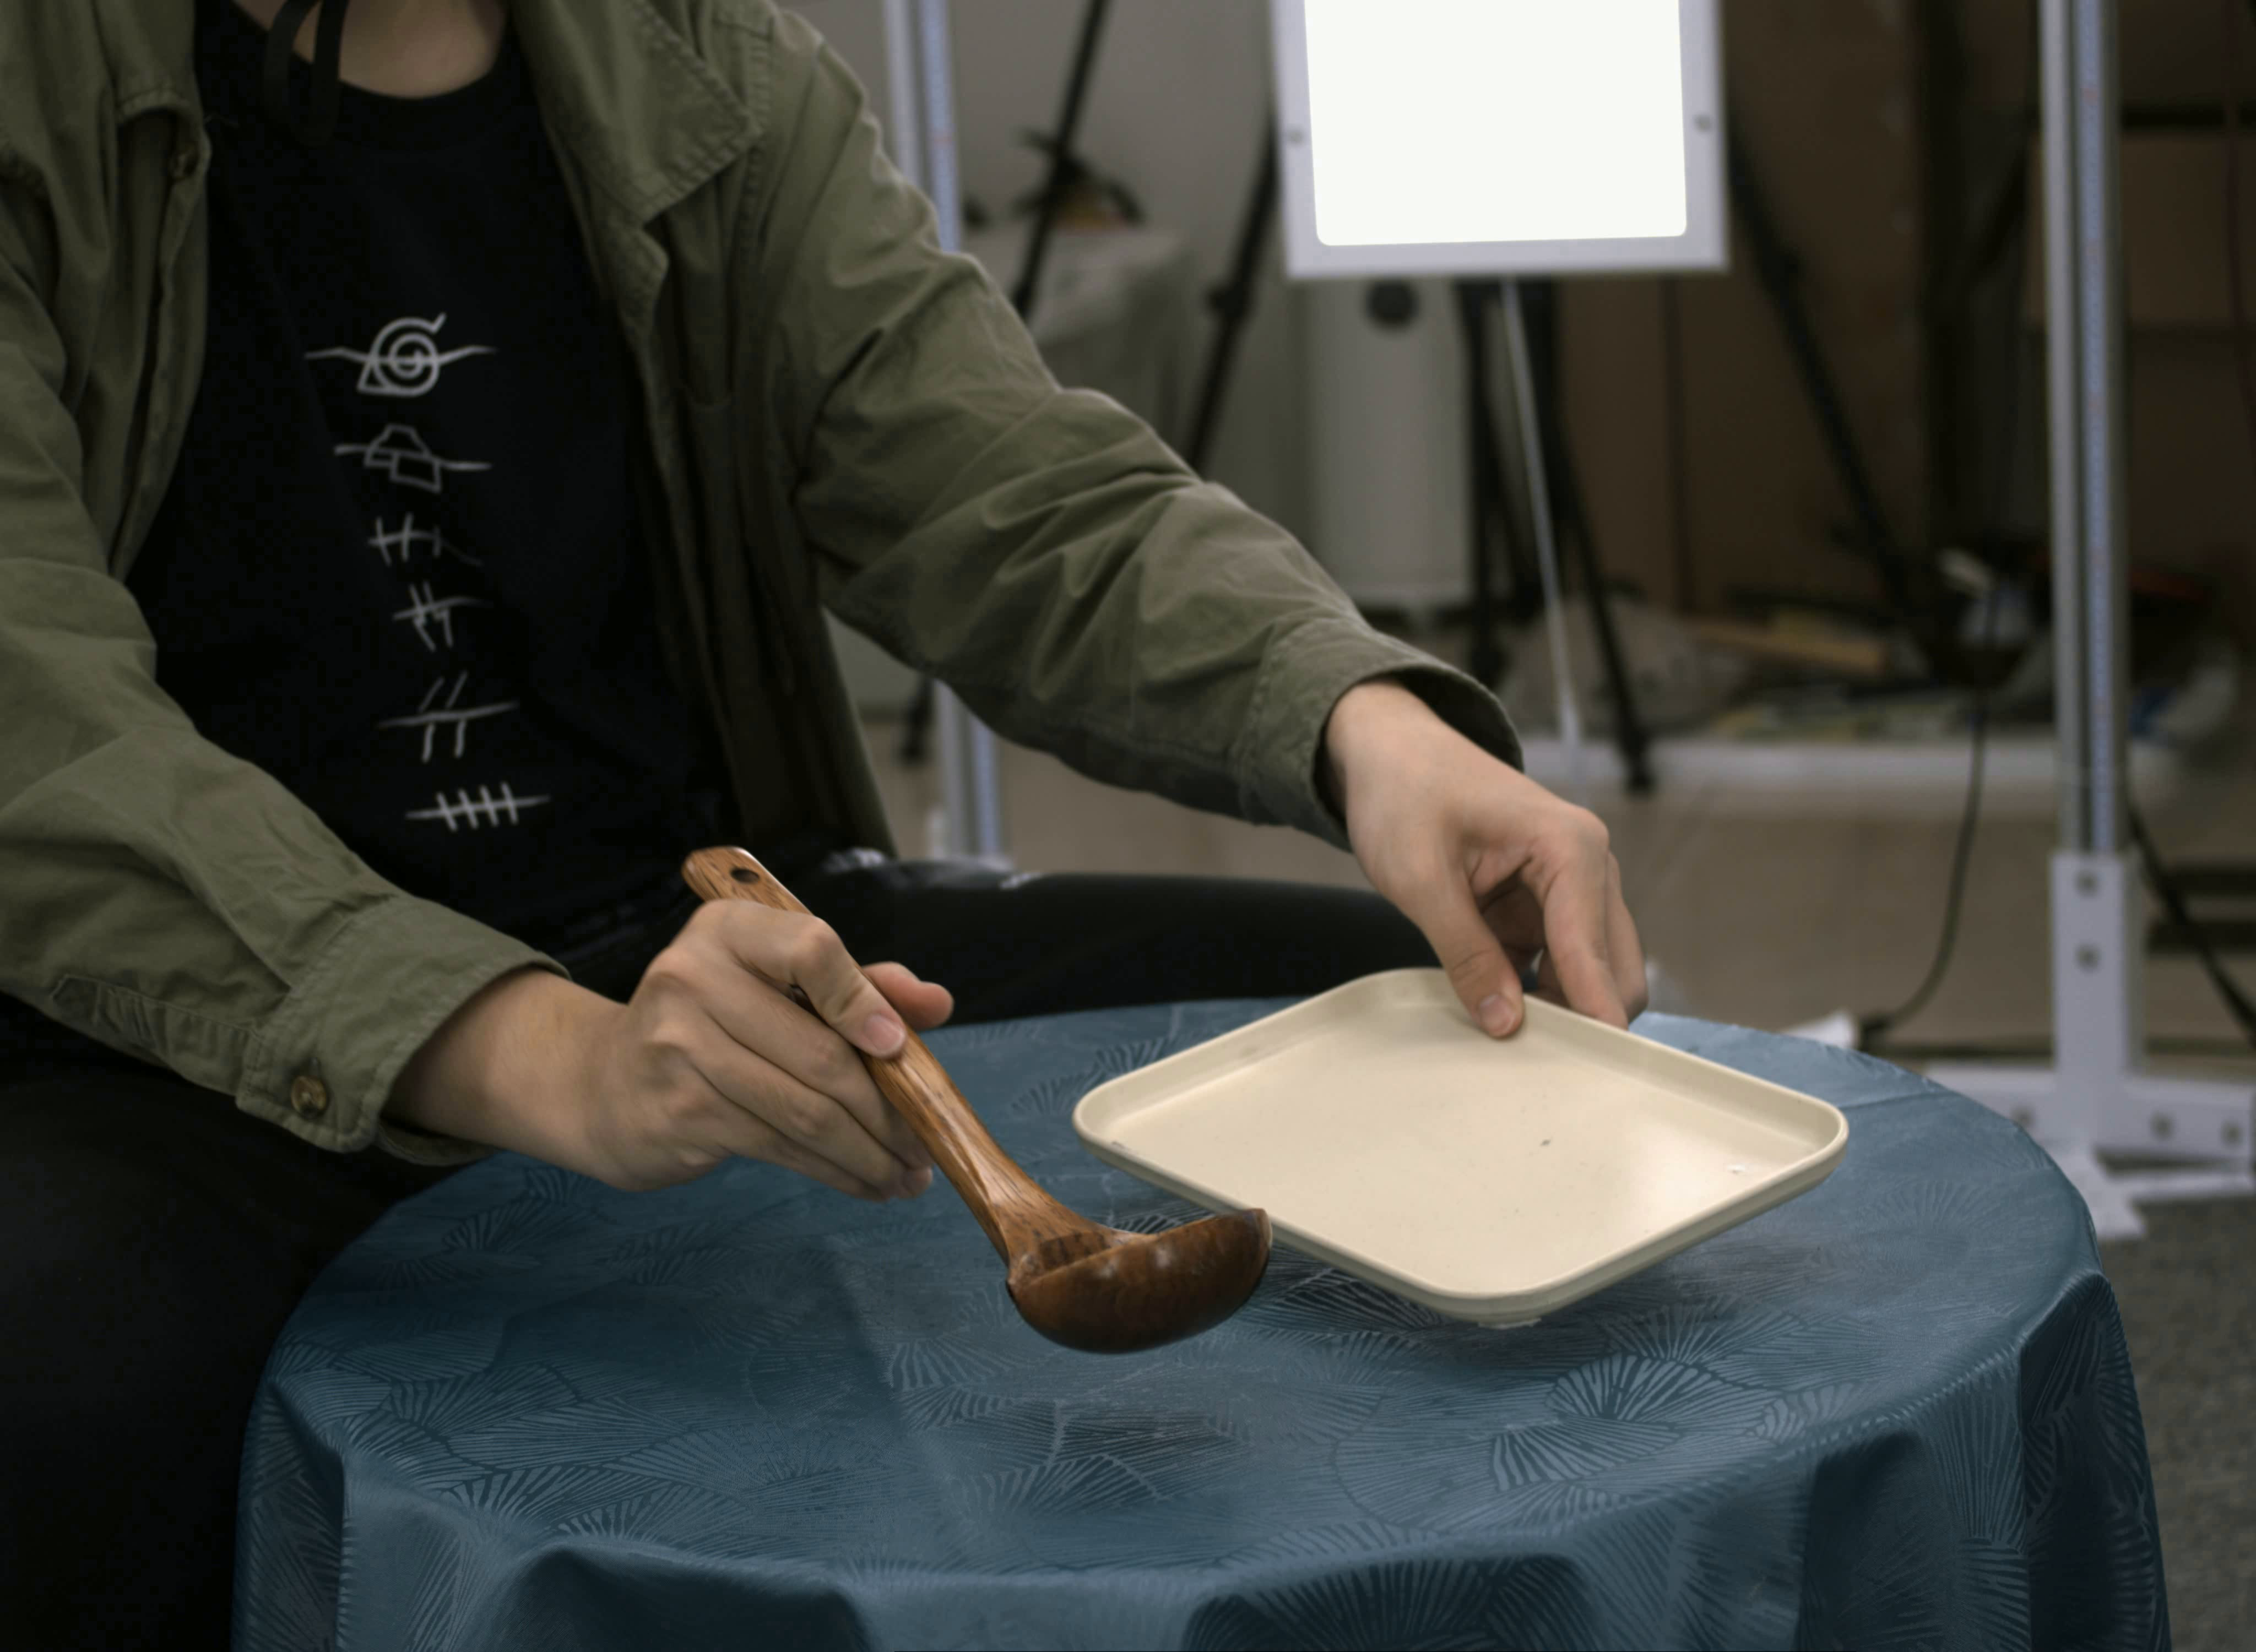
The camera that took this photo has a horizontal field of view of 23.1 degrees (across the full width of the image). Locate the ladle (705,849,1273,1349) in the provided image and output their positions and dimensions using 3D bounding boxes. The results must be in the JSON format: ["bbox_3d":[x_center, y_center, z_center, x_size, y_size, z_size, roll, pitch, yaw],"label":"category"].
[{"bbox_3d":[-0.052,0.068,1.703,0.080,0.077,0.277,-6,40,-36],"label":"ladle"}]

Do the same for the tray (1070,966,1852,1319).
[{"bbox_3d":[0.107,0.102,1.796,0.167,0.017,0.244,-21,24,-30],"label":"tray"}]
